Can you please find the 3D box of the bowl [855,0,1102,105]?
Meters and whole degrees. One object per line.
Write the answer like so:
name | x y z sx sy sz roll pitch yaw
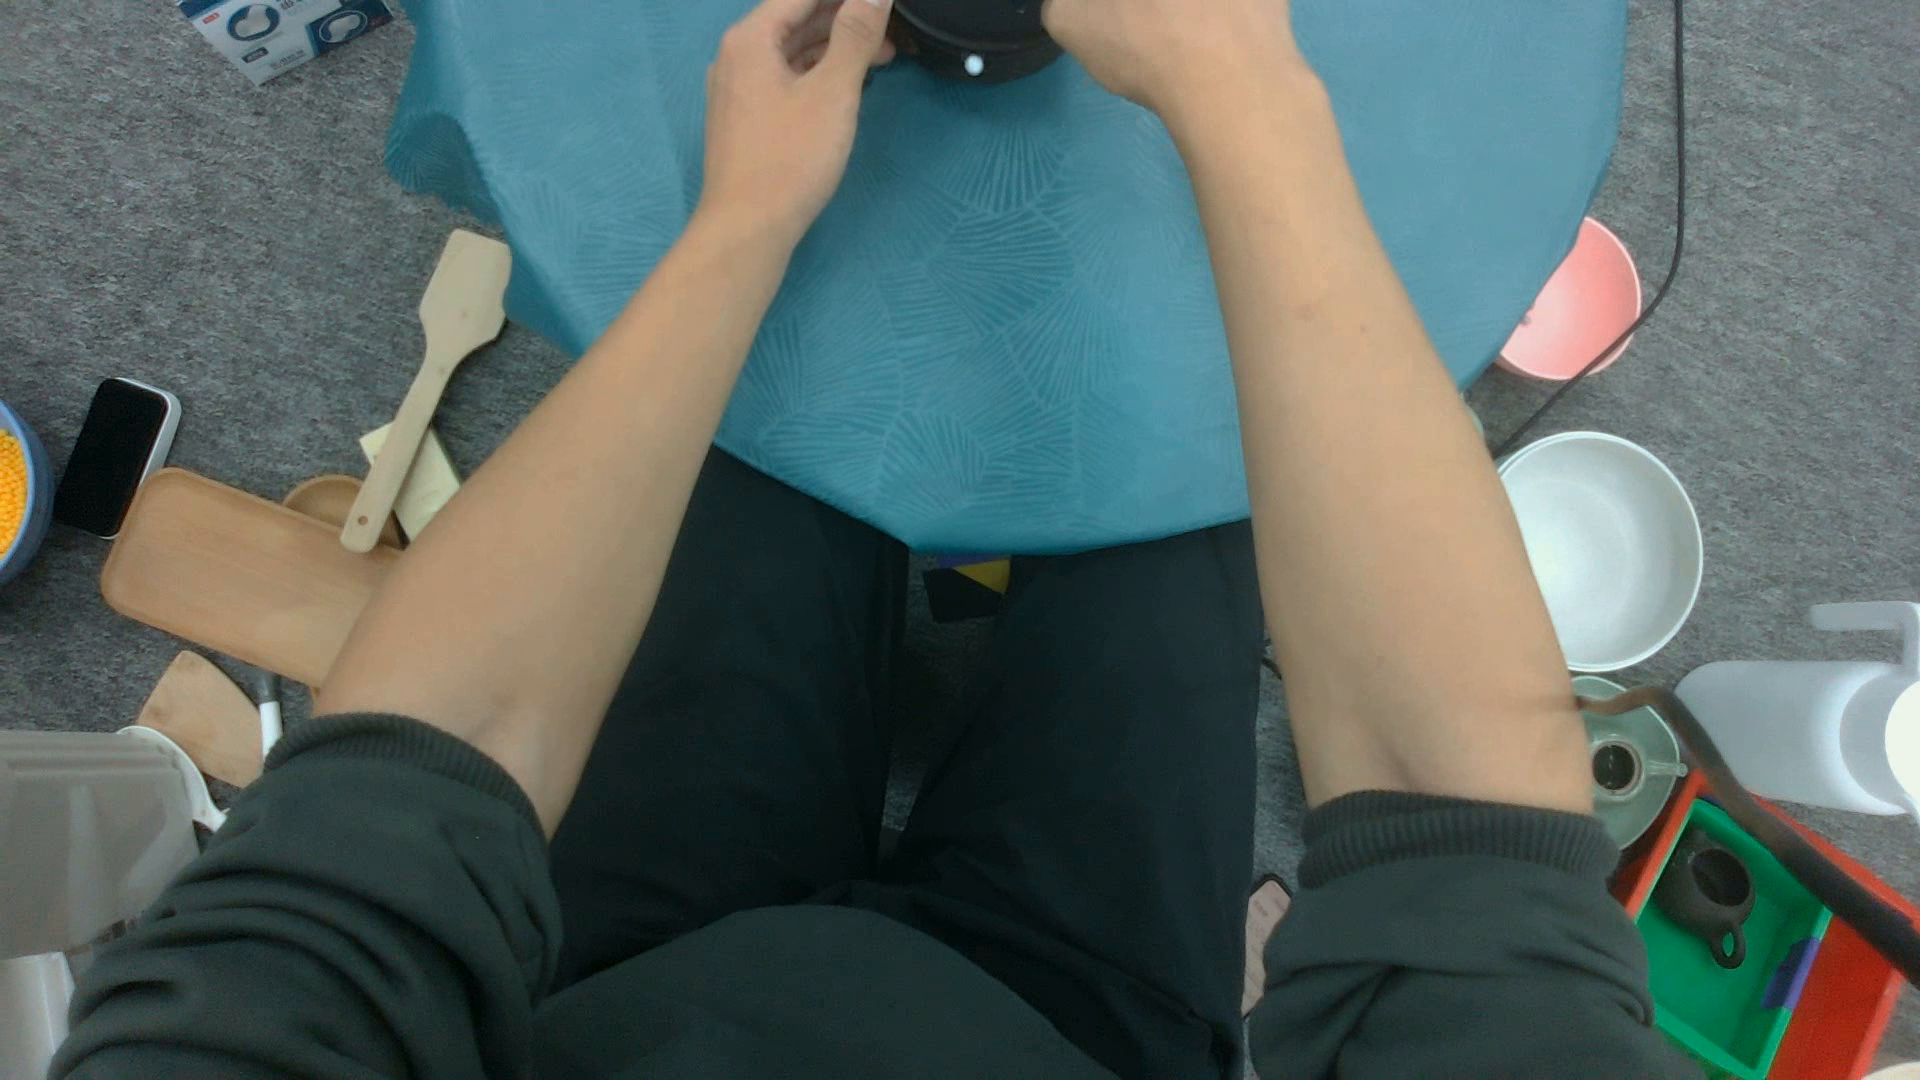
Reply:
bowl | 0.007 -0.264 0.660 0.118 0.070 0.118 1 83 -5

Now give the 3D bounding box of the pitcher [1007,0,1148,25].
pitcher | 0.055 -0.261 0.585 0.071 0.096 0.083 5 93 12
